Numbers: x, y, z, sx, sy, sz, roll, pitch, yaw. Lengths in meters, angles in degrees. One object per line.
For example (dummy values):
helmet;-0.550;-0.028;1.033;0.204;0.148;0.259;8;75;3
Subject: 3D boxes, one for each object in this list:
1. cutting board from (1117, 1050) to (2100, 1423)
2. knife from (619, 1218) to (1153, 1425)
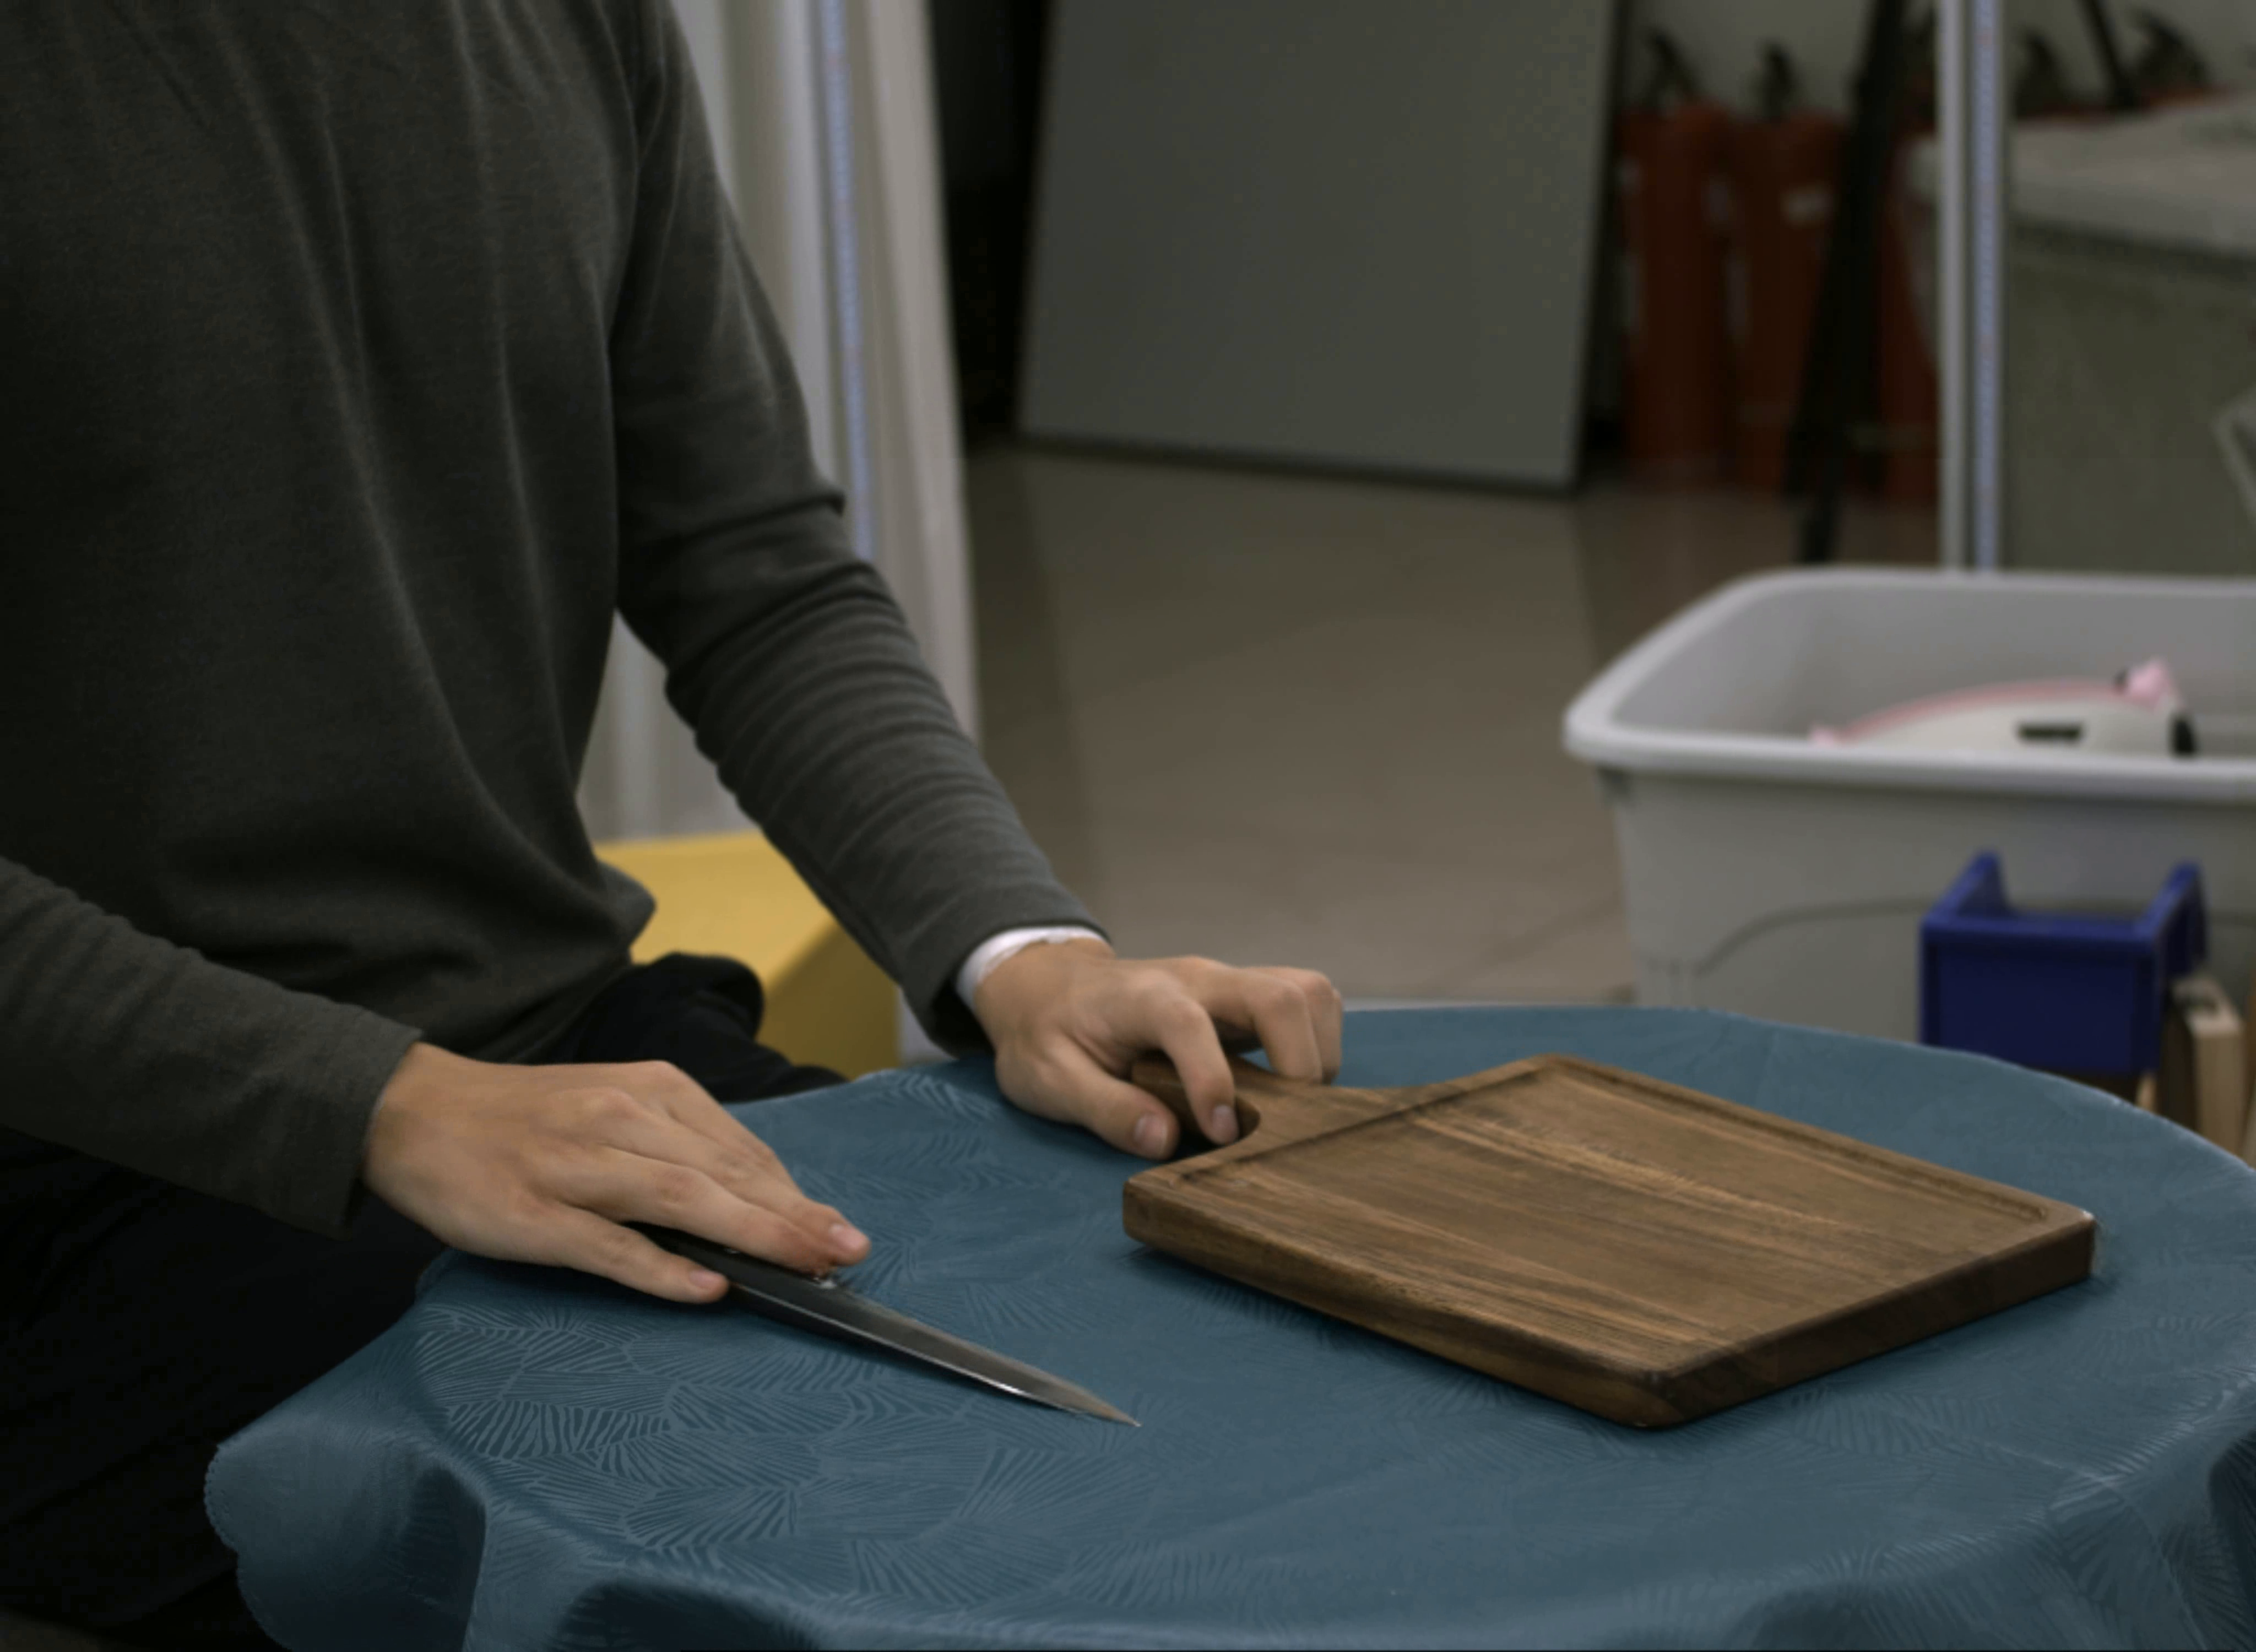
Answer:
cutting board;0.116;0.115;1.707;0.196;0.023;0.356;-14;17;-36
knife;-0.078;0.153;1.645;0.024;0.016;0.240;-16;21;-42
